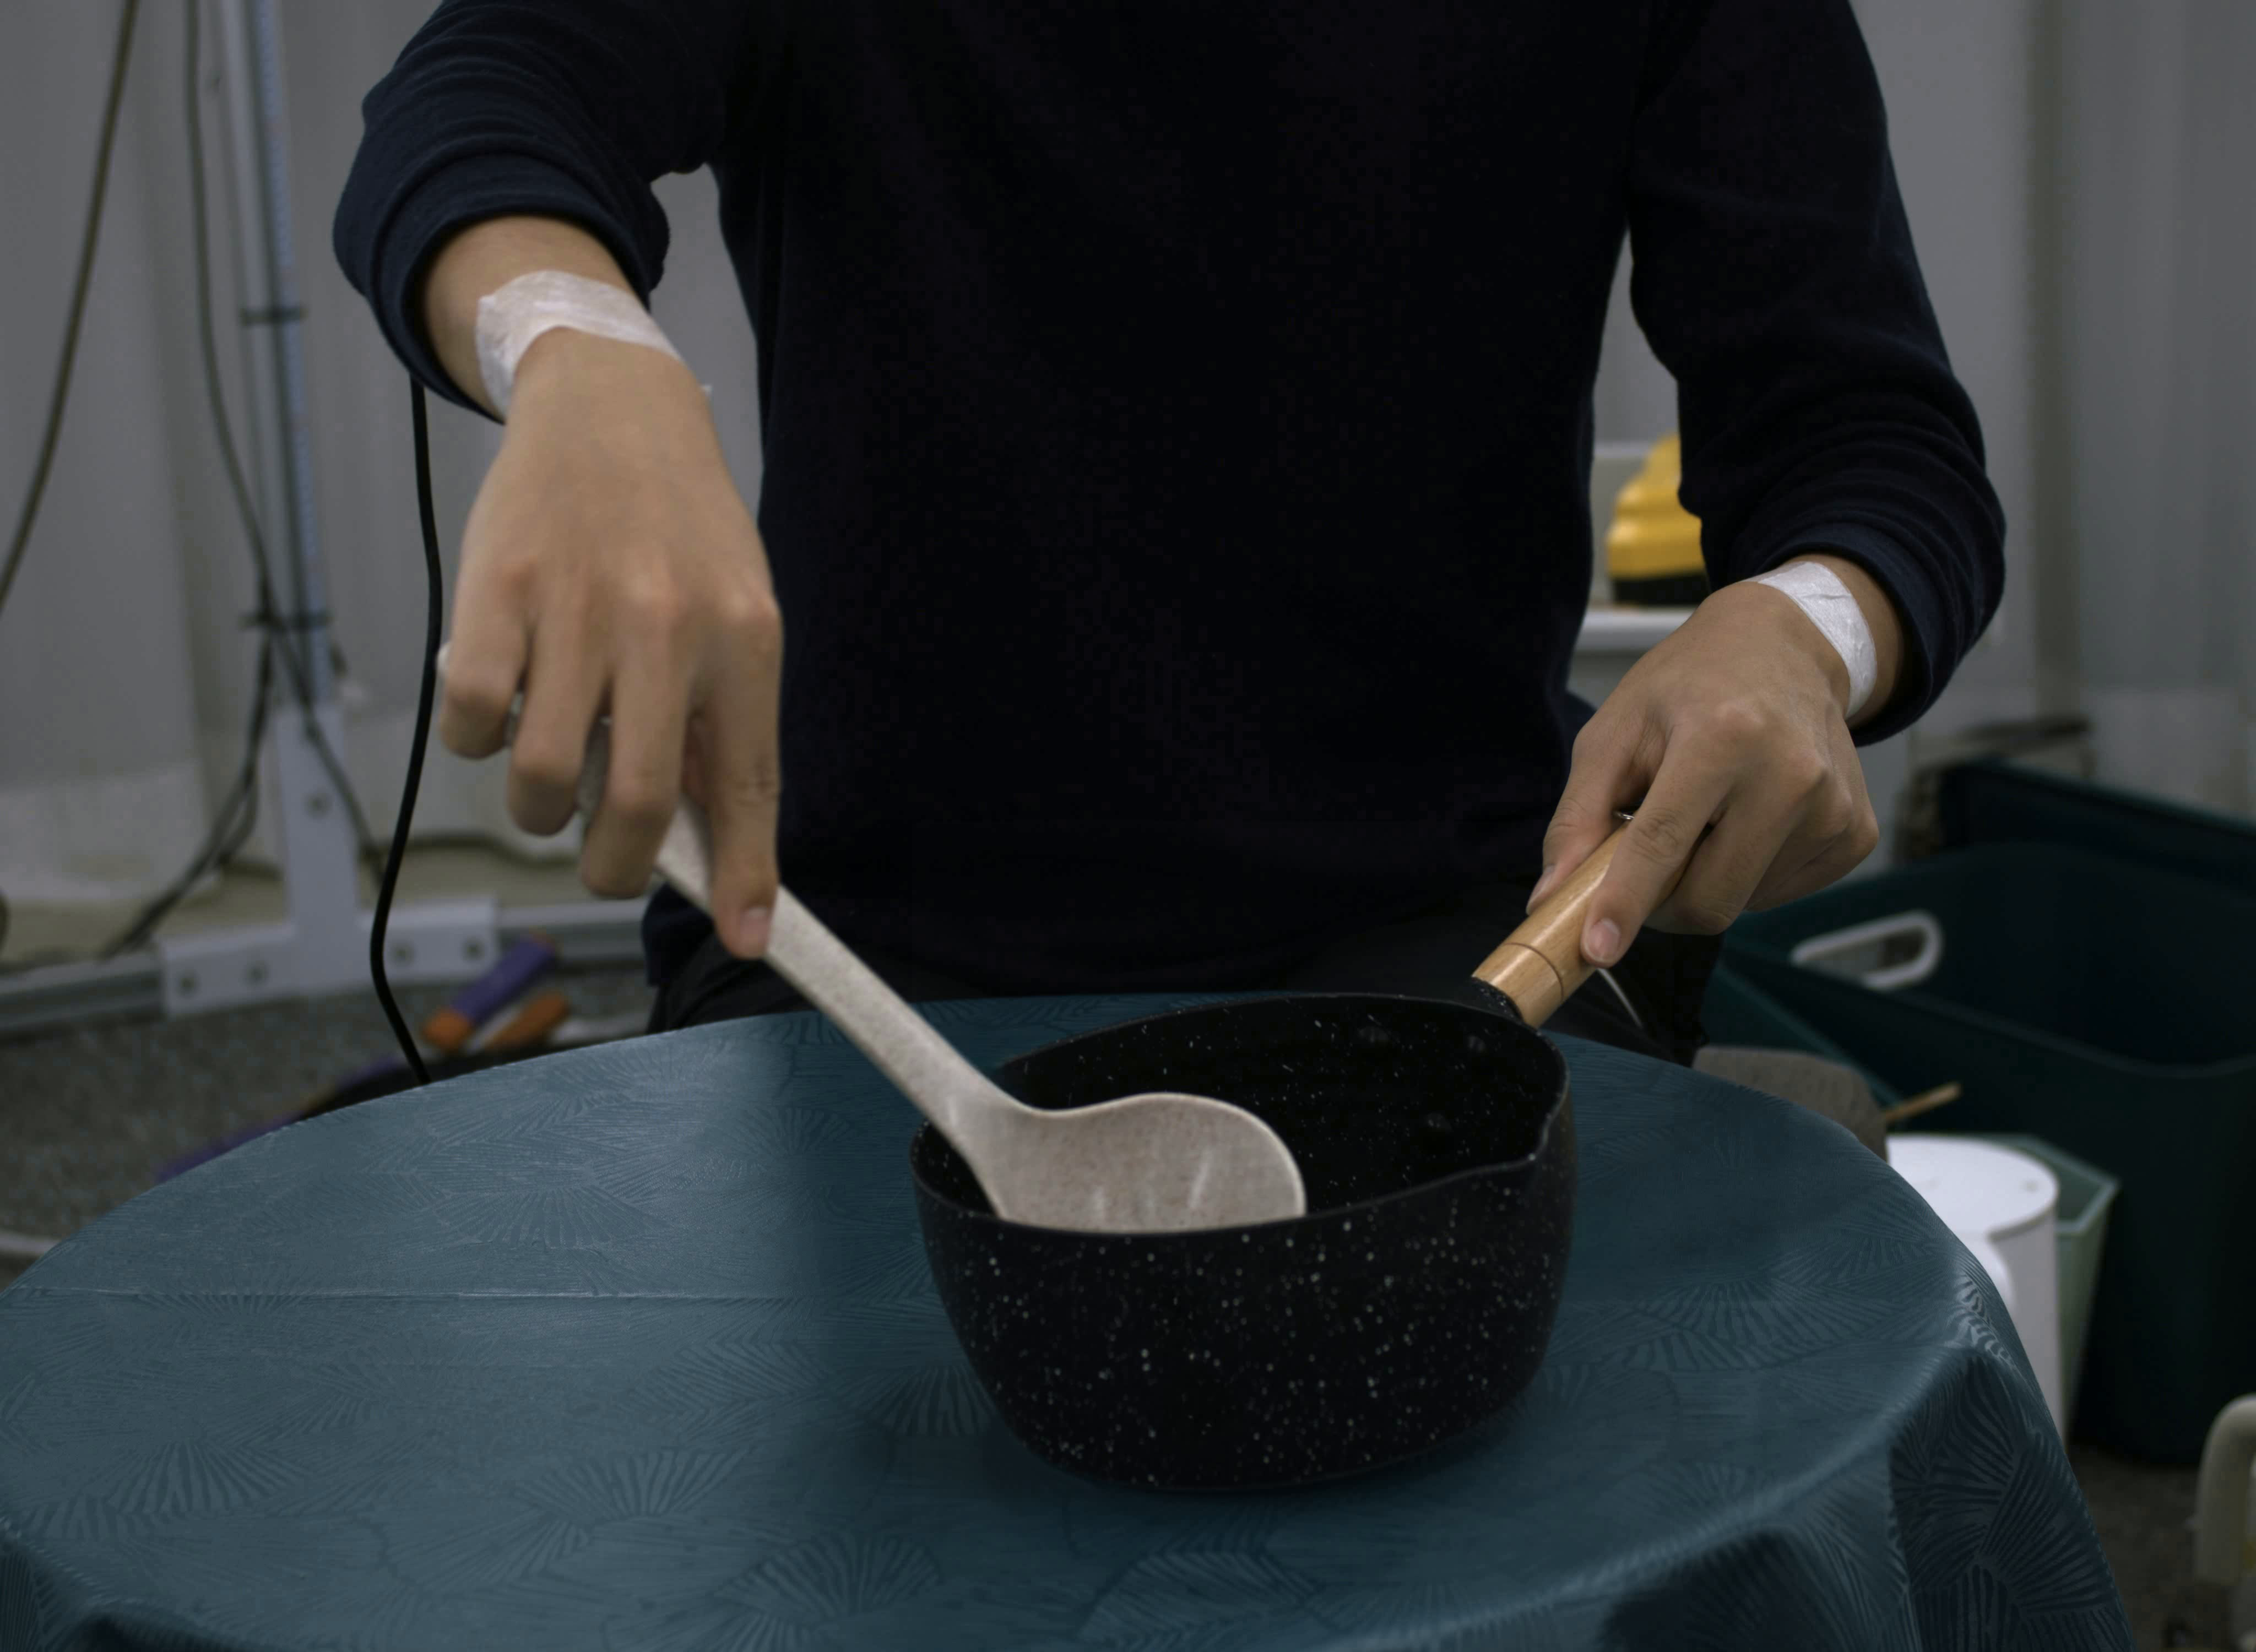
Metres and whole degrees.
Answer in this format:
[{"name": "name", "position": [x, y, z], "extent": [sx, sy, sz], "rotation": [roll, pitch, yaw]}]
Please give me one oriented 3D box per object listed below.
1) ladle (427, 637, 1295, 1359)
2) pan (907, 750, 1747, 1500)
[{"name": "ladle", "position": [-0.068, 0.037, 1.442], "extent": [0.069, 0.272, 0.090], "rotation": [-22, 29, 50]}, {"name": "pan", "position": [0.082, 0.081, 1.573], "extent": [0.208, 0.107, 0.343], "rotation": [4, 22, 38]}]
